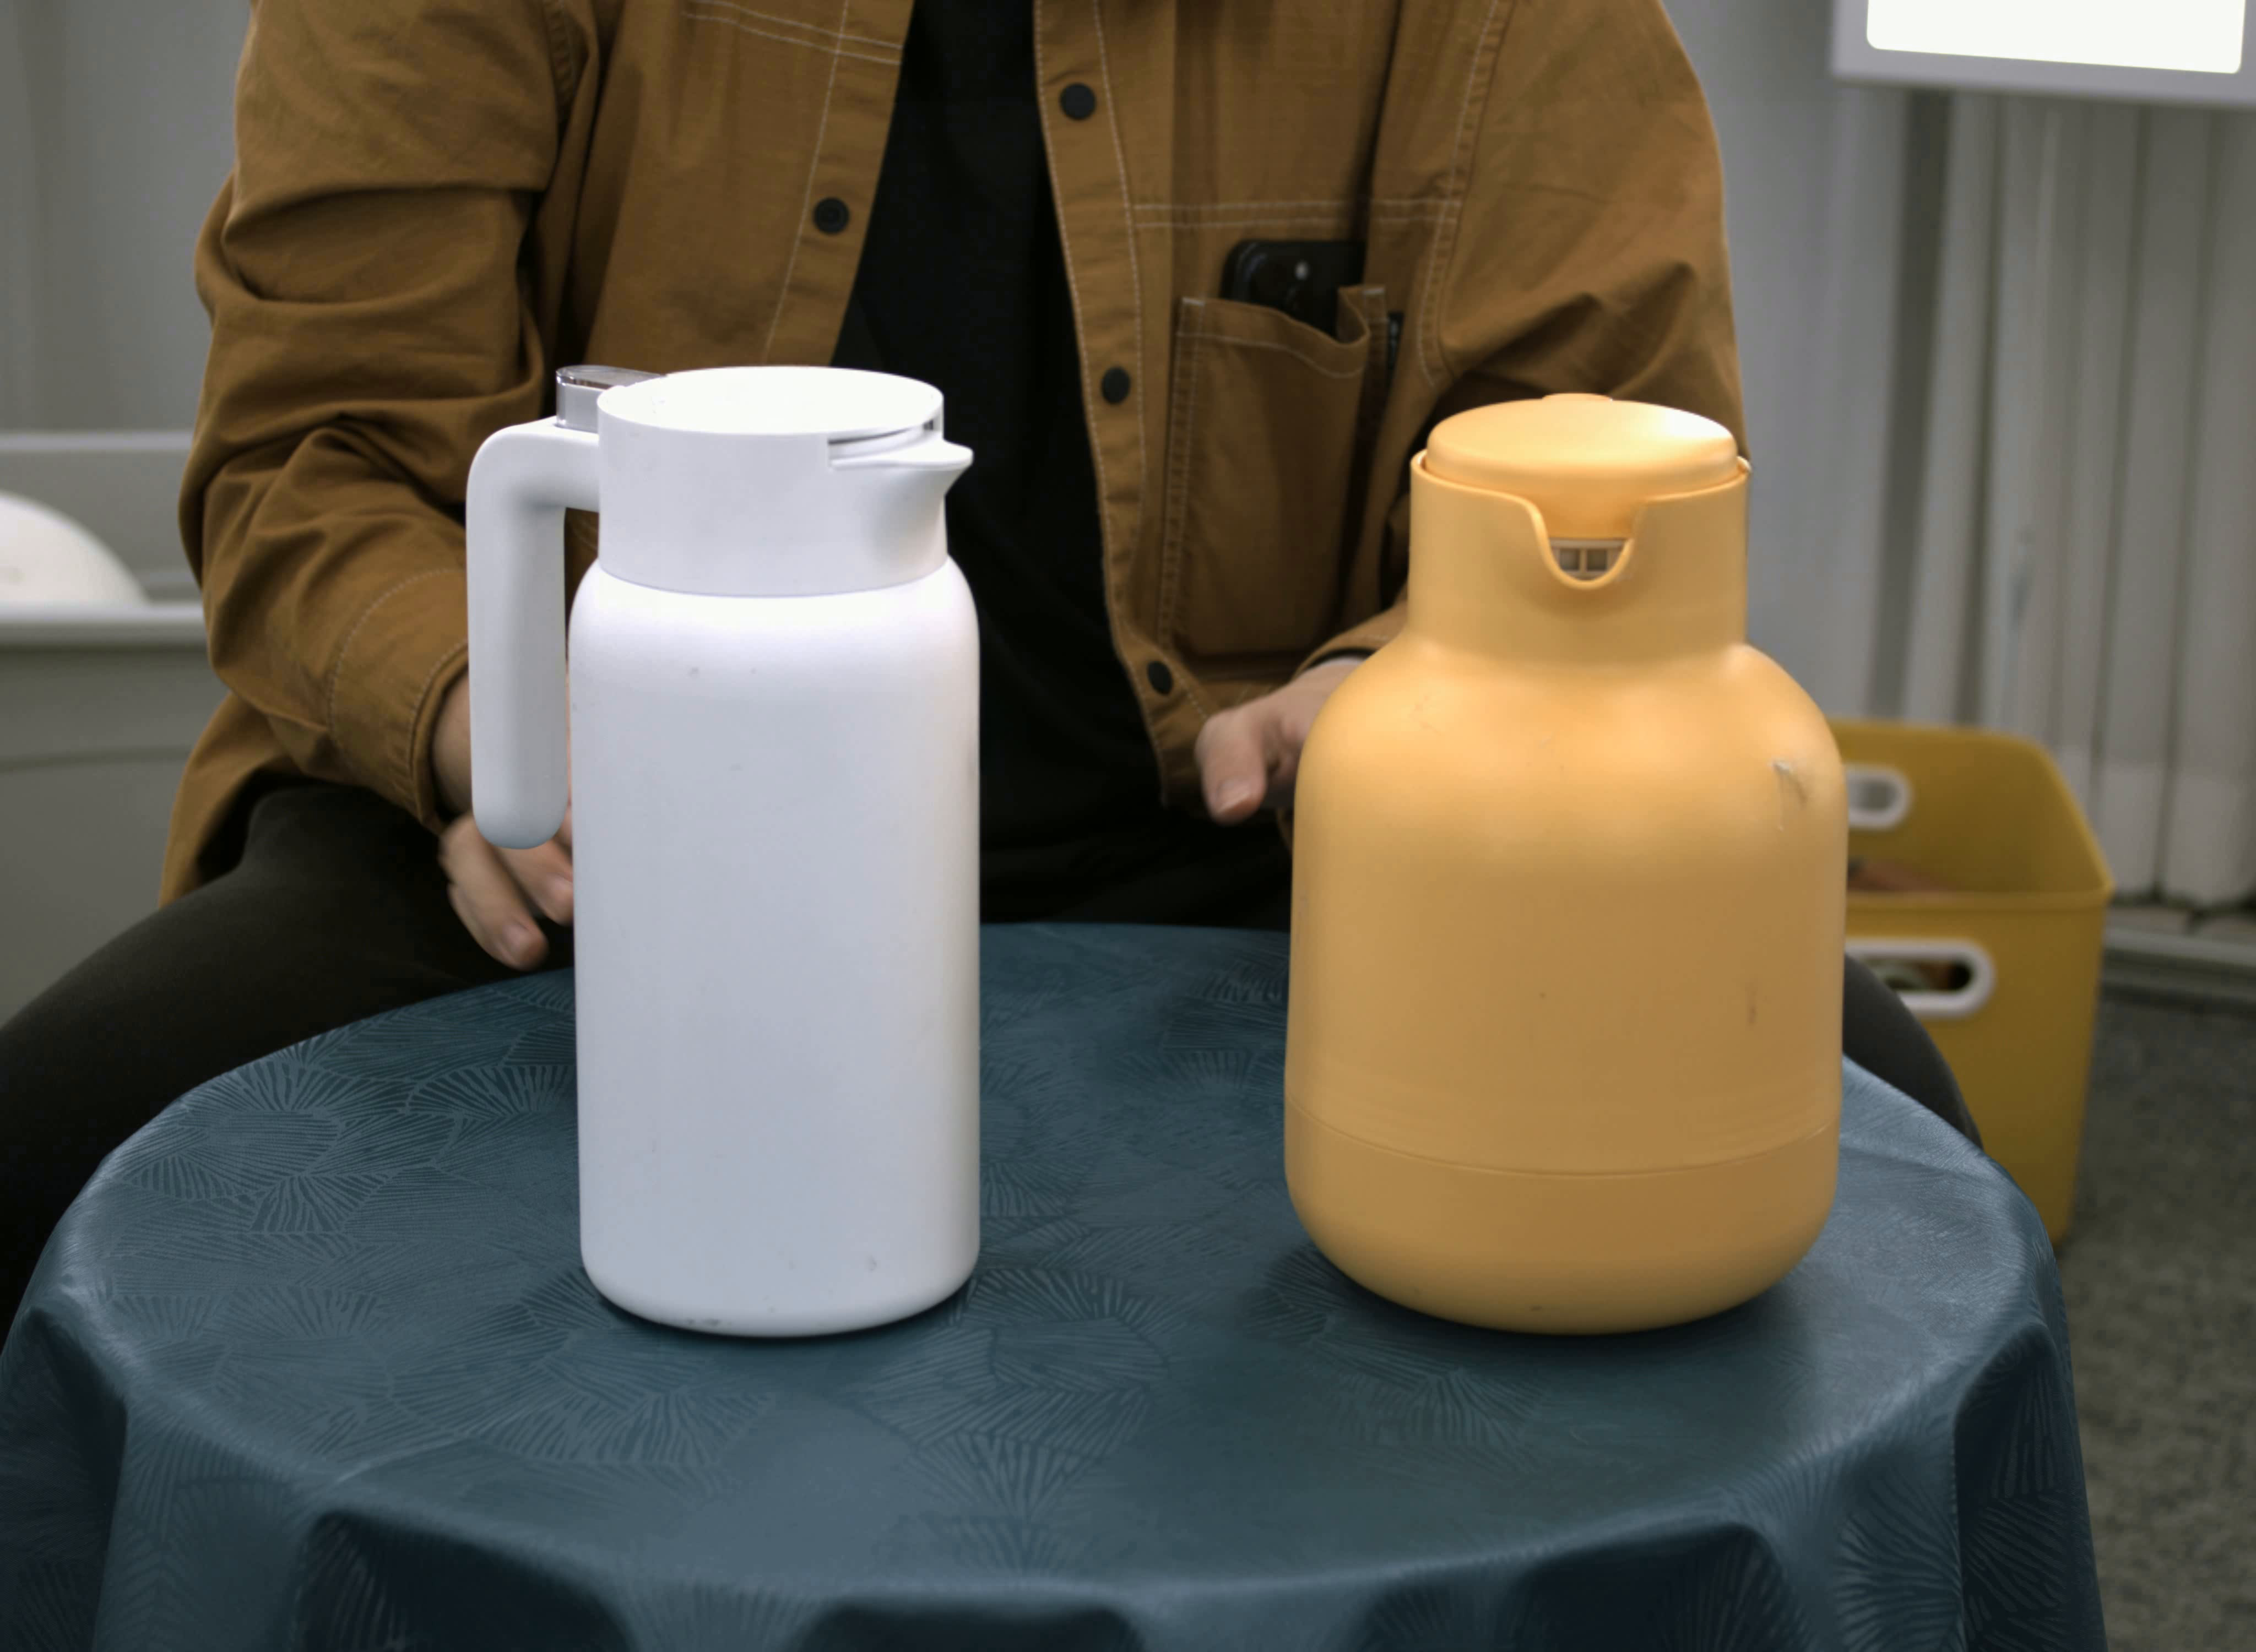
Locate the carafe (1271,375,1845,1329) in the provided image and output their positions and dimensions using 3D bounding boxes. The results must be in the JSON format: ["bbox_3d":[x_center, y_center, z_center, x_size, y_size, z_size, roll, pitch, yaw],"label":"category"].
[{"bbox_3d":[0.129,-0.001,1.539,0.163,0.262,0.201,5,18,4],"label":"carafe"}]

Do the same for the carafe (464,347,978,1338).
[{"bbox_3d":[-0.117,0.002,1.514,0.171,0.271,0.124,10,21,31],"label":"carafe"}]
